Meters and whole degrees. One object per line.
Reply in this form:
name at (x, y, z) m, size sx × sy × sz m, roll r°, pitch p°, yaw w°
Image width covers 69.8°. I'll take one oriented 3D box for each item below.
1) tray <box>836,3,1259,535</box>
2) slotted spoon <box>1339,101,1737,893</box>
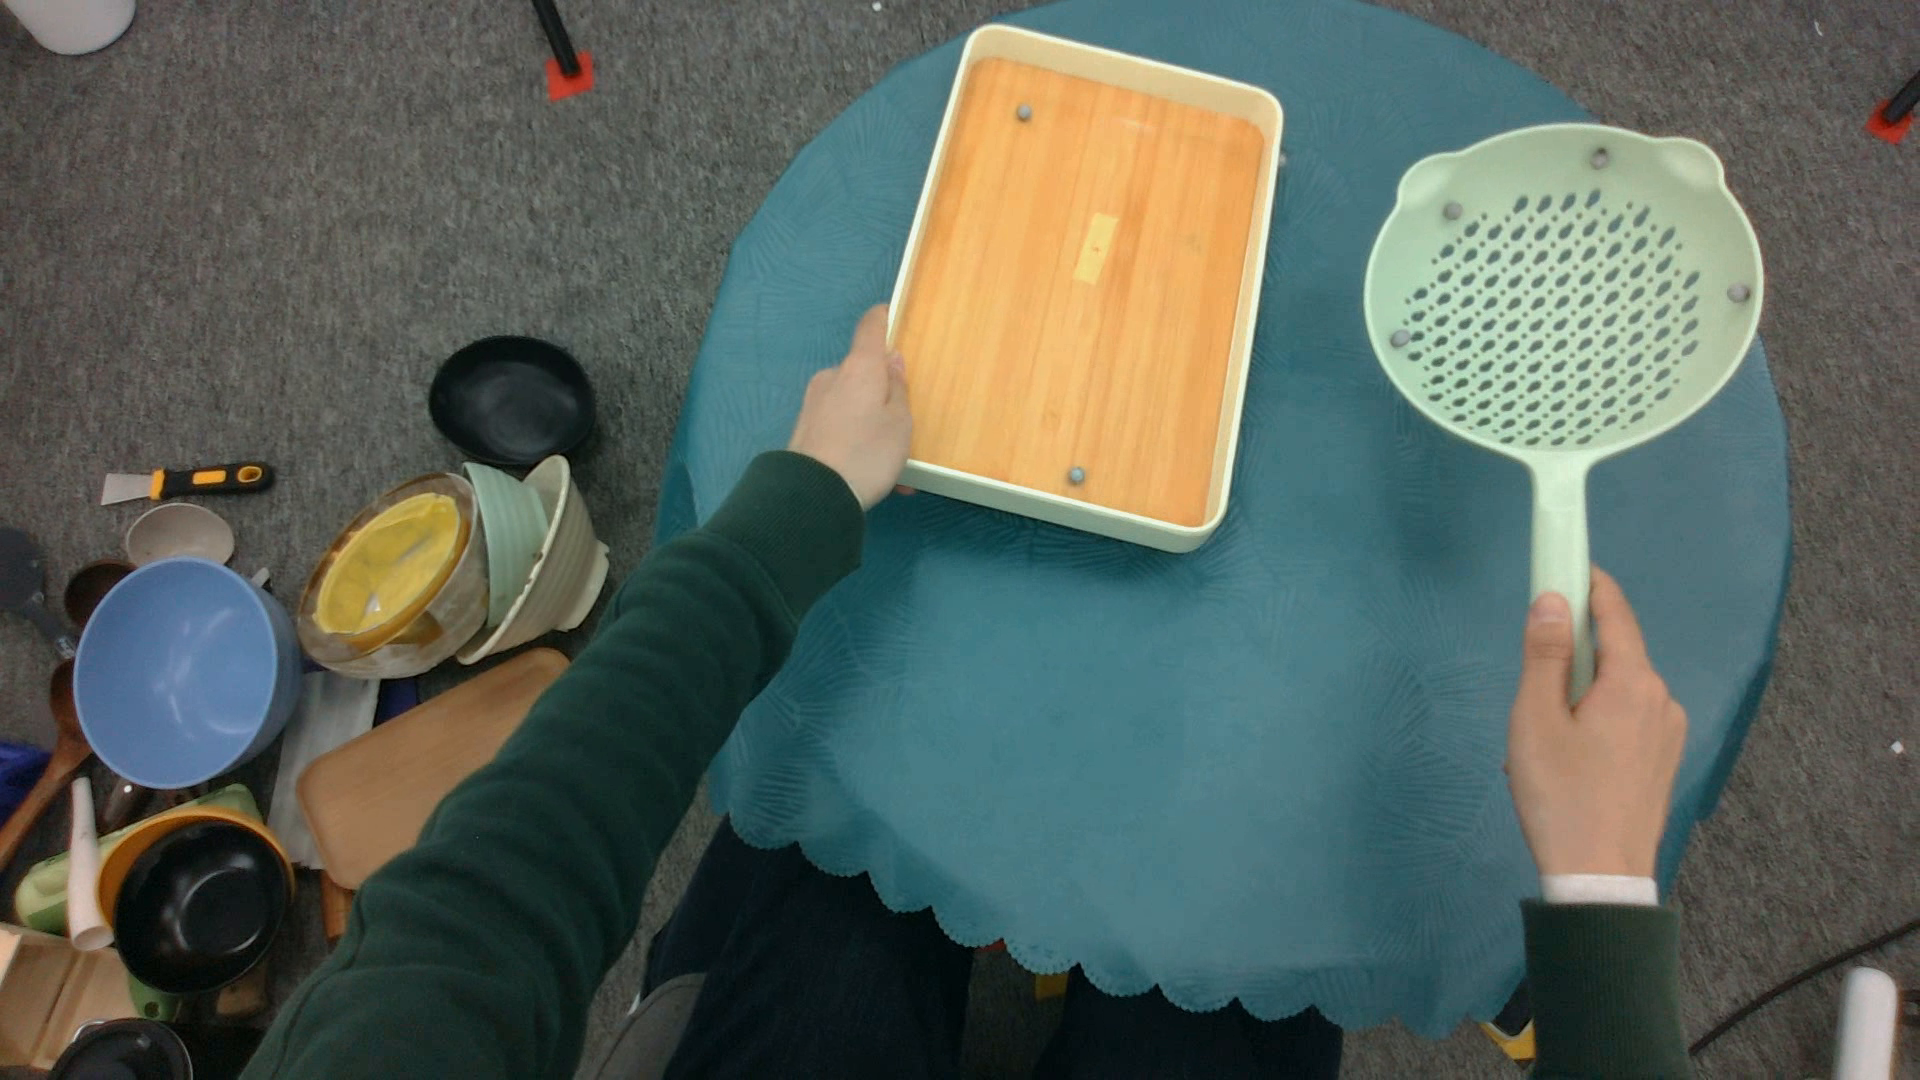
tray at (0.056, -0.157, 0.751) m, size 0.191 × 0.027 × 0.301 m, roll 15°, pitch 64°, yaw -4°
slotted spoon at (0.257, -0.031, 0.614) m, size 0.169 × 0.075 × 0.360 m, roll -1°, pitch 64°, yaw 20°
